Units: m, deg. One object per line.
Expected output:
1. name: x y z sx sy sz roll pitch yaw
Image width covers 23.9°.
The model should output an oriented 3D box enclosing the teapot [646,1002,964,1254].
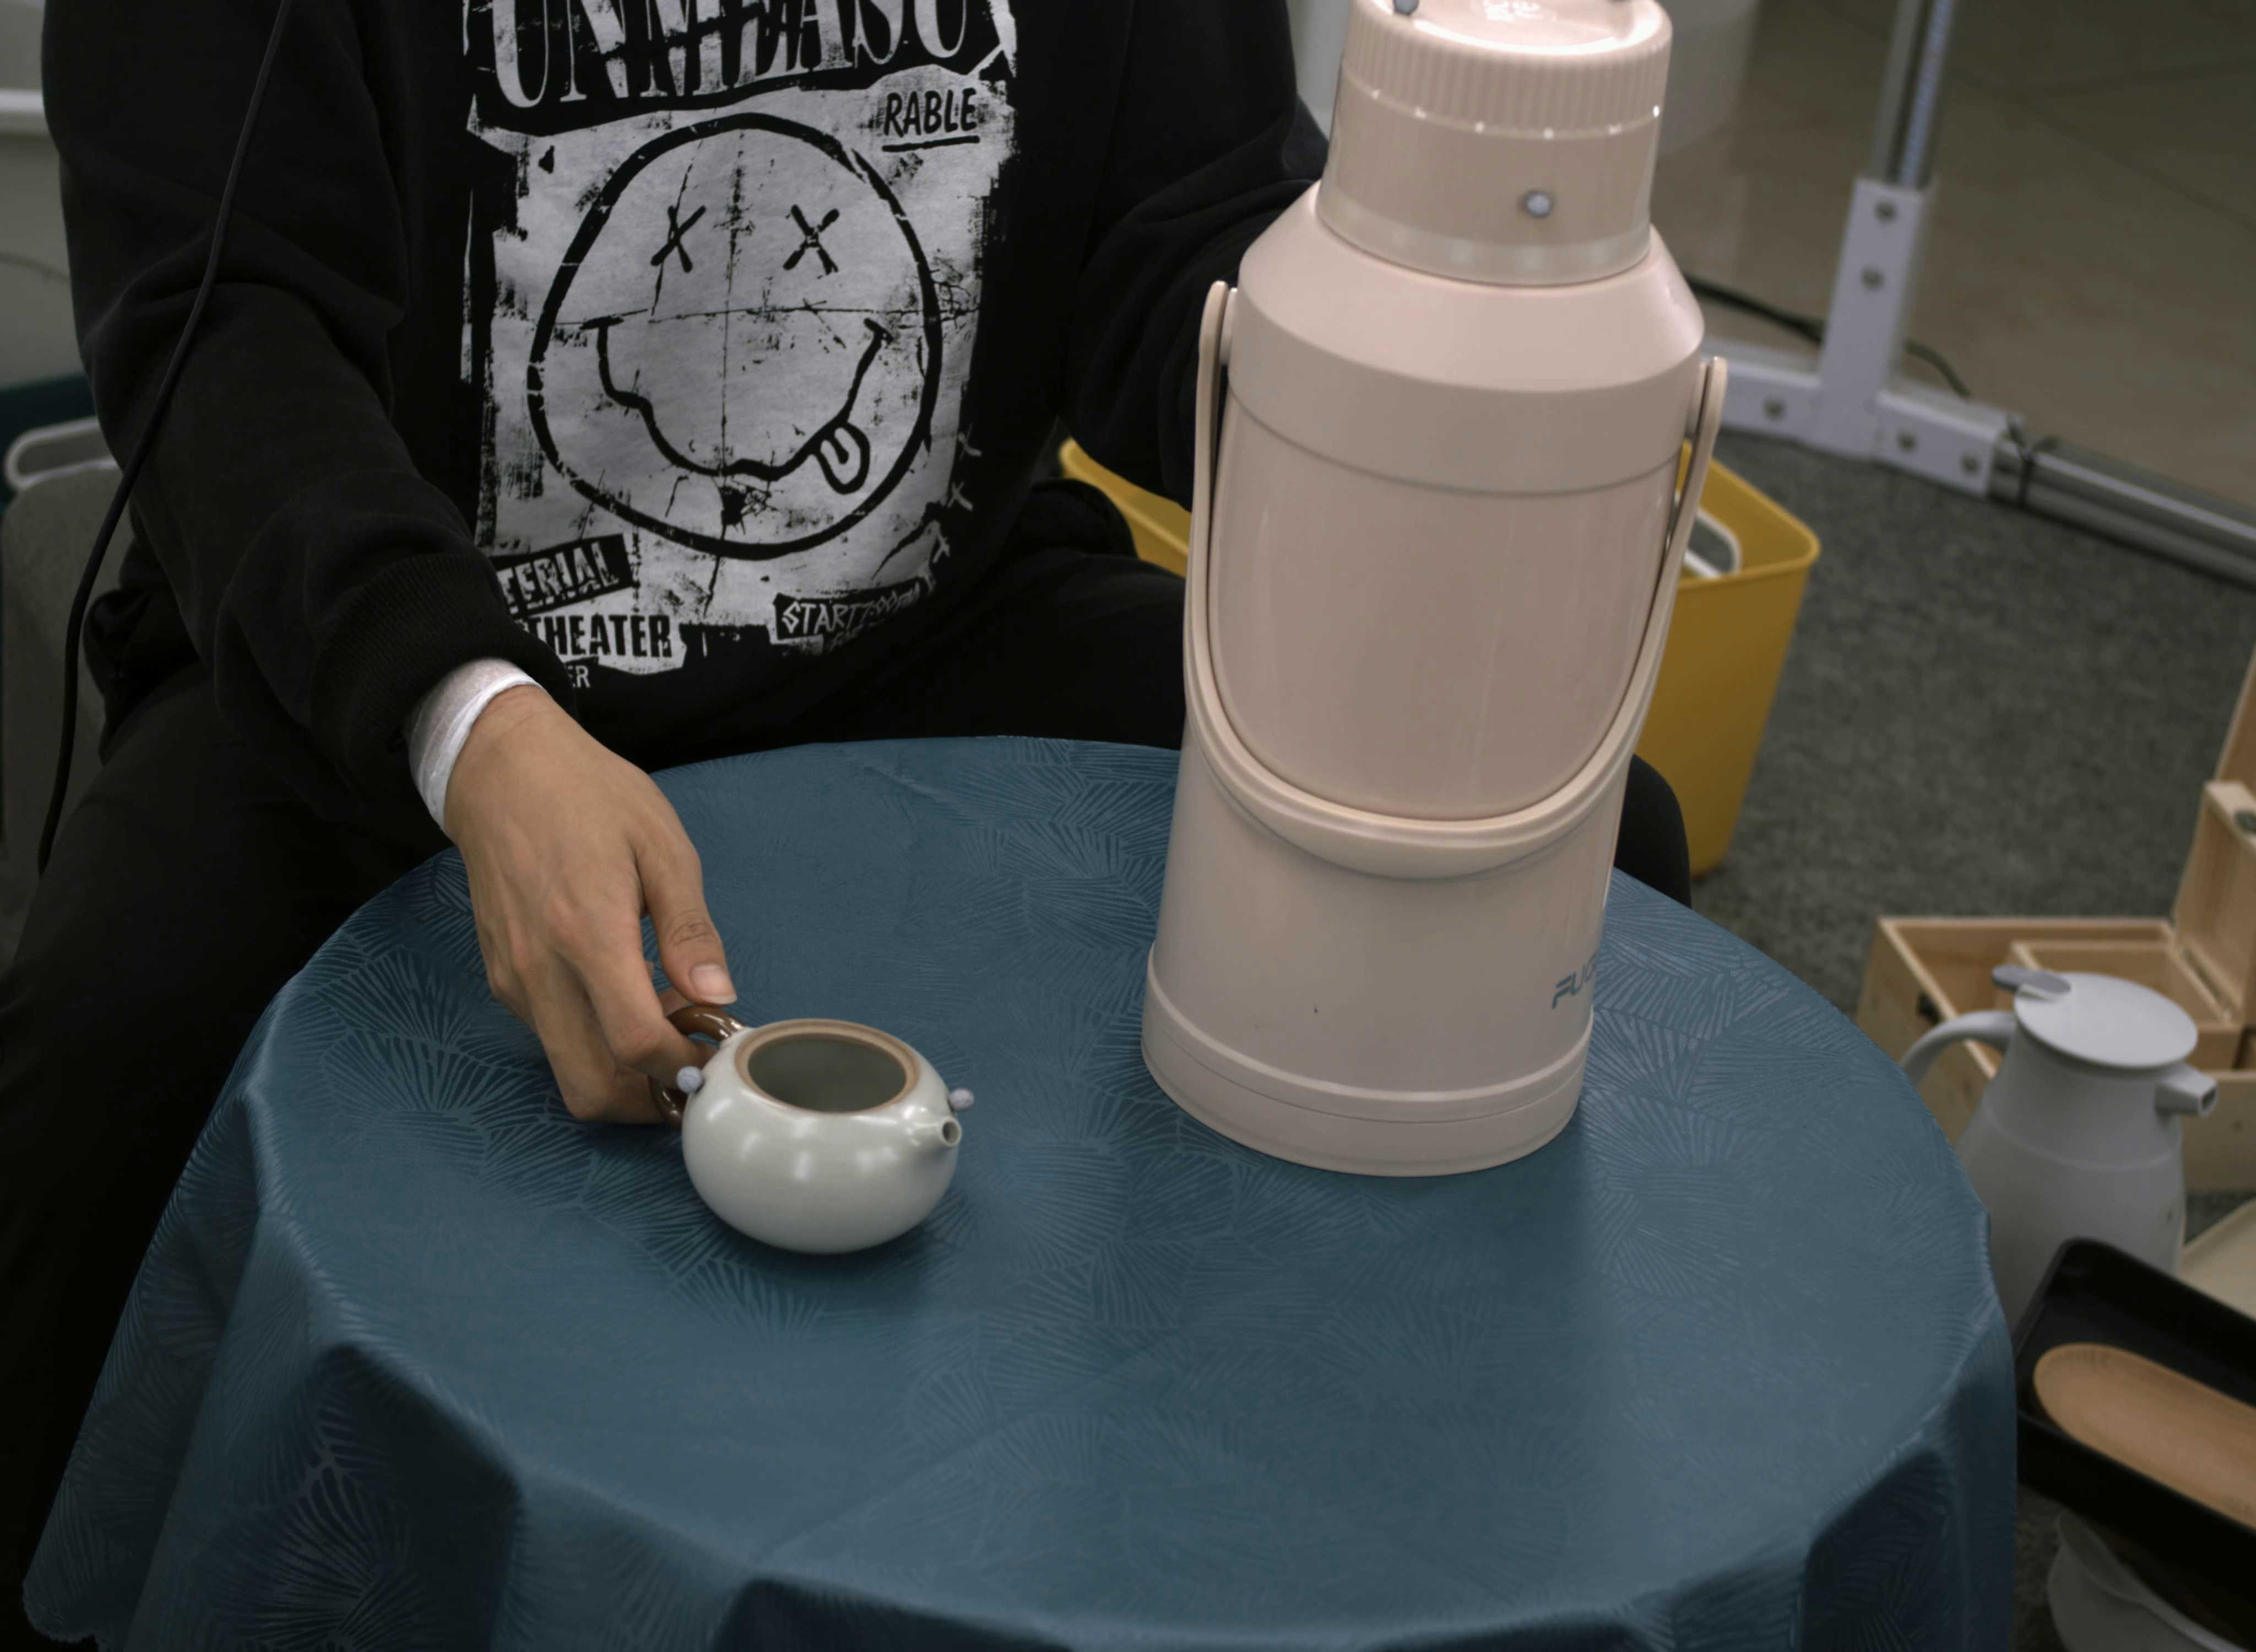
1. teapot: -0.109 0.099 1.765 0.129 0.059 0.091 23 34 27

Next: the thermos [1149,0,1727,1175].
1. thermos: 0.107 -0.097 1.826 0.175 0.405 0.208 7 27 4
